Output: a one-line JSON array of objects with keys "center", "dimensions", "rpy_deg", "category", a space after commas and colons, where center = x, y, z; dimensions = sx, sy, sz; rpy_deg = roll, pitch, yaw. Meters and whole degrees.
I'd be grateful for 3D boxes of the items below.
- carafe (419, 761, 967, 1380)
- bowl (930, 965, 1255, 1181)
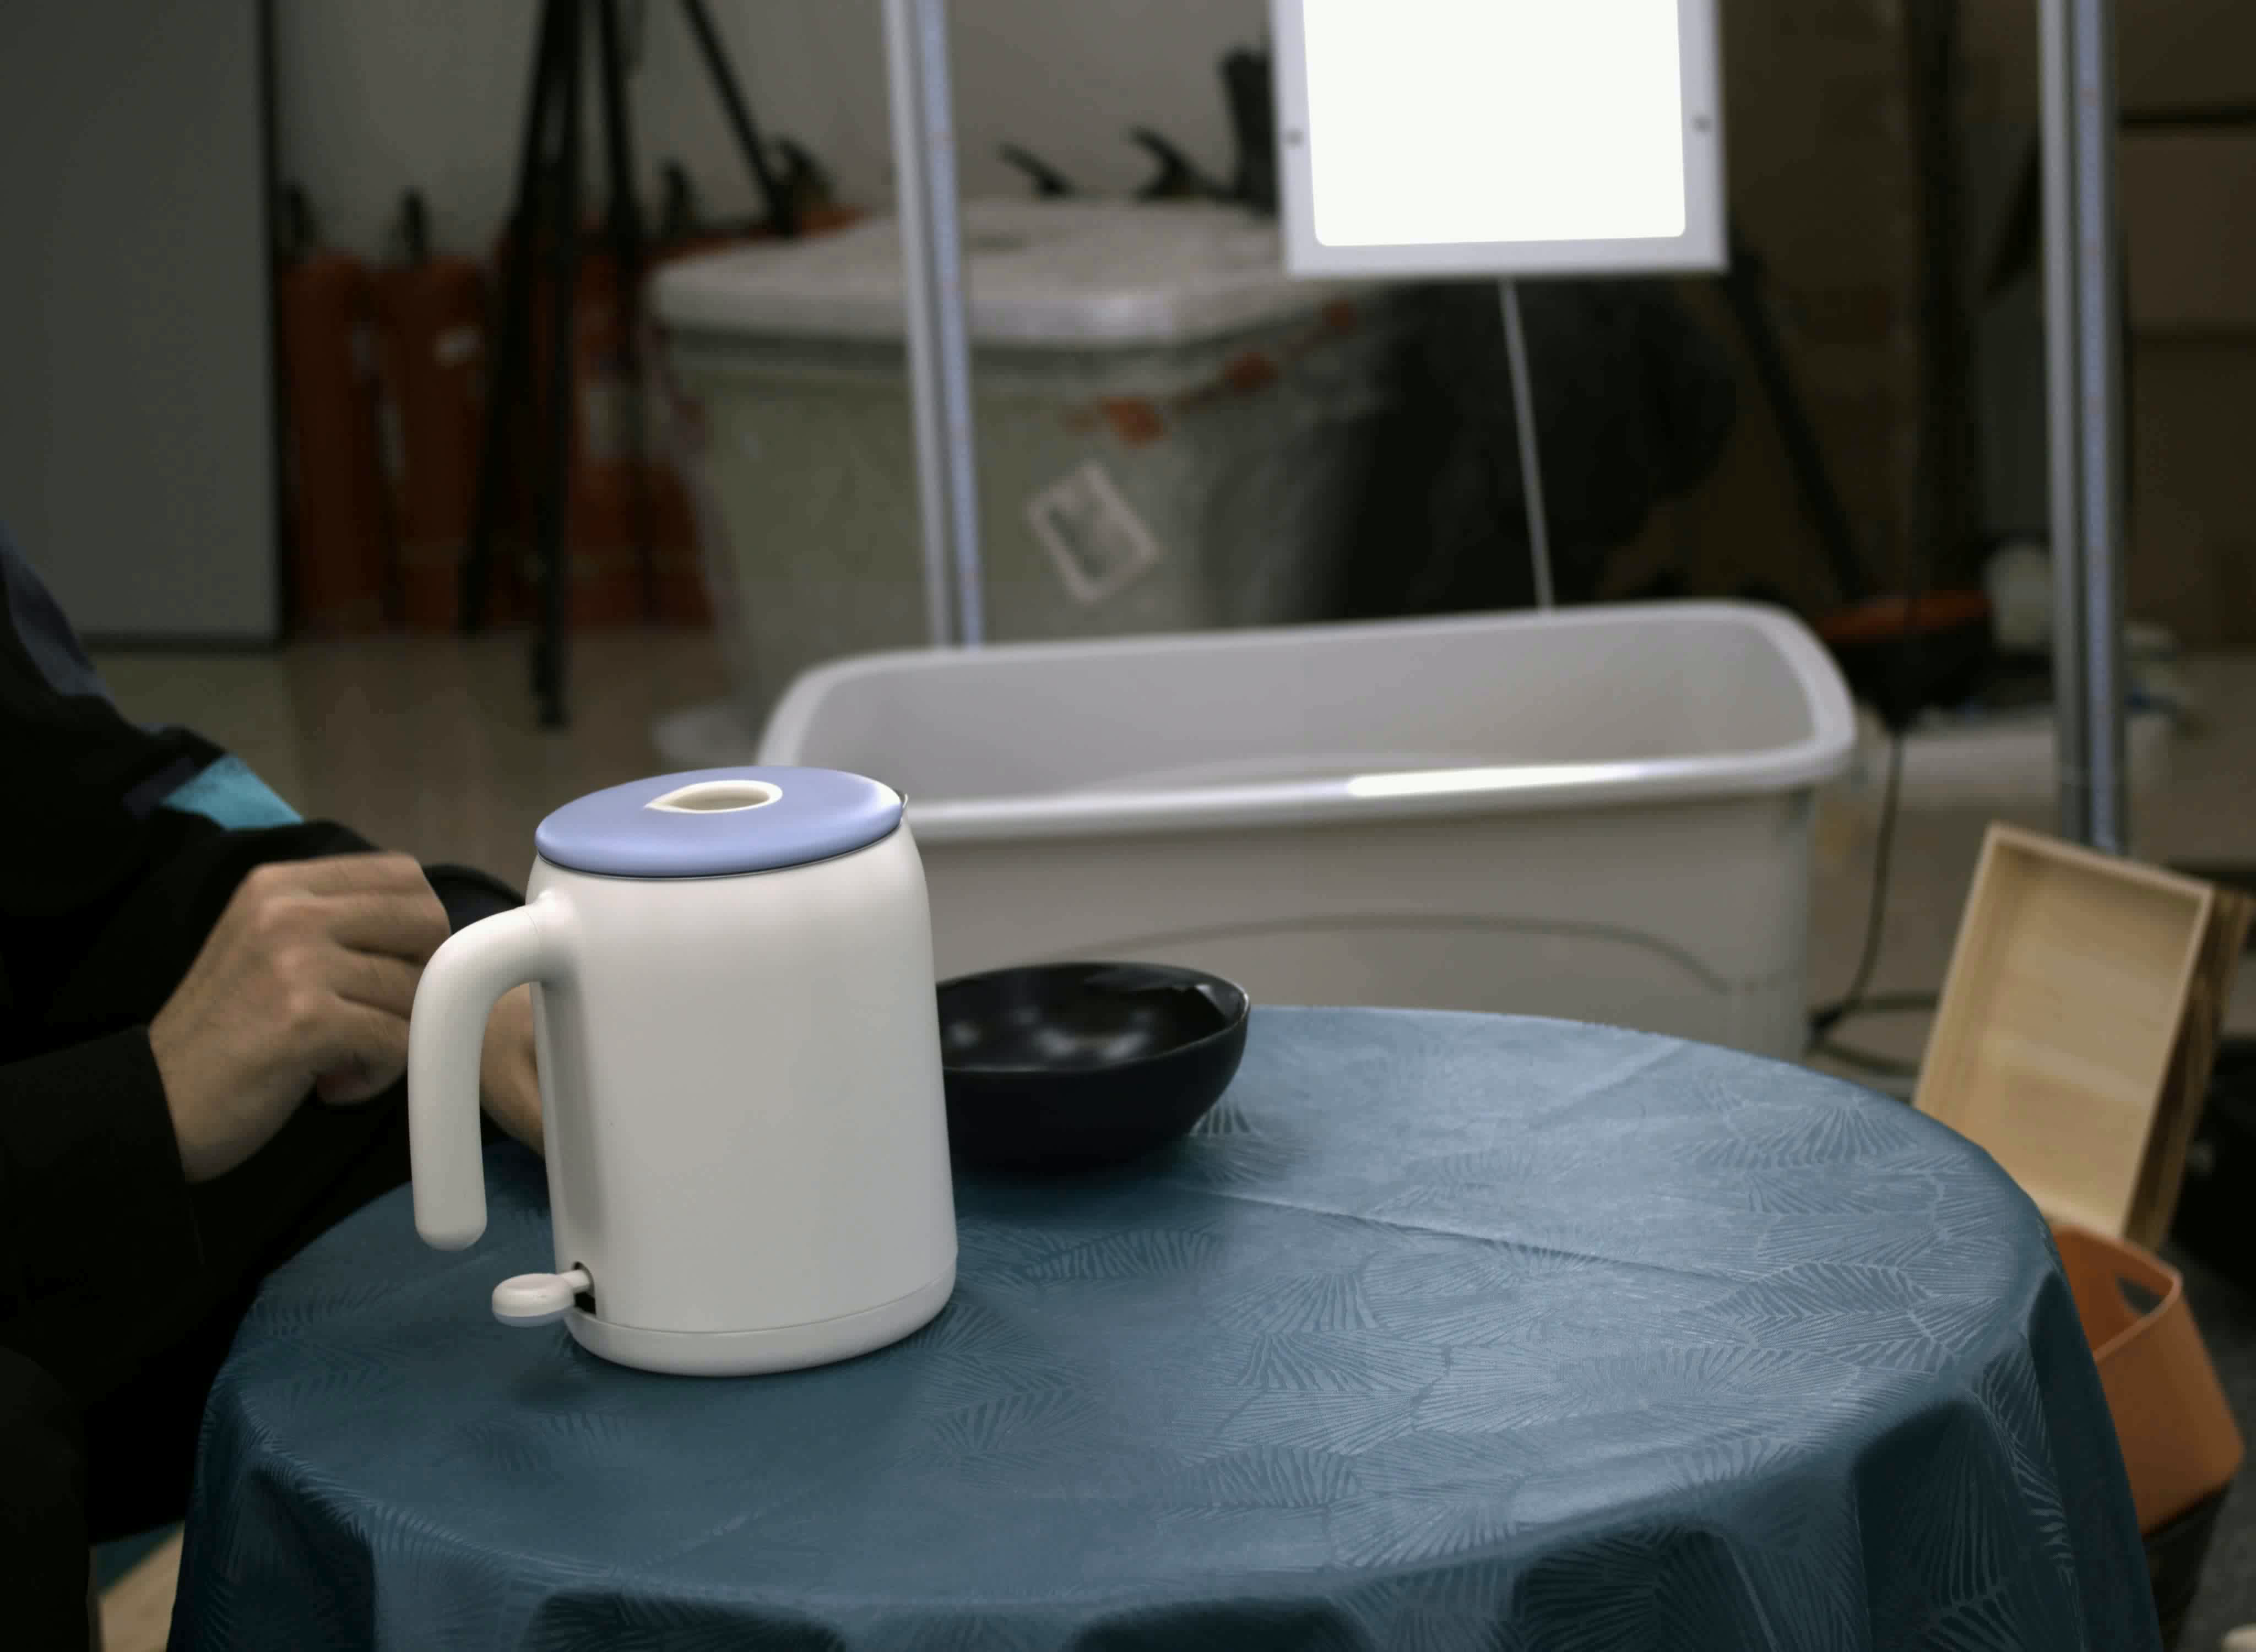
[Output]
[{"center": [-0.144, 0.083, 1.767], "dimensions": [0.186, 0.183, 0.135], "rpy_deg": [-17, 17, -32], "category": "carafe"}, {"center": [-0.023, 0.091, 1.948], "dimensions": [0.140, 0.050, 0.140], "rpy_deg": [-7, 14, 0], "category": "bowl"}]
